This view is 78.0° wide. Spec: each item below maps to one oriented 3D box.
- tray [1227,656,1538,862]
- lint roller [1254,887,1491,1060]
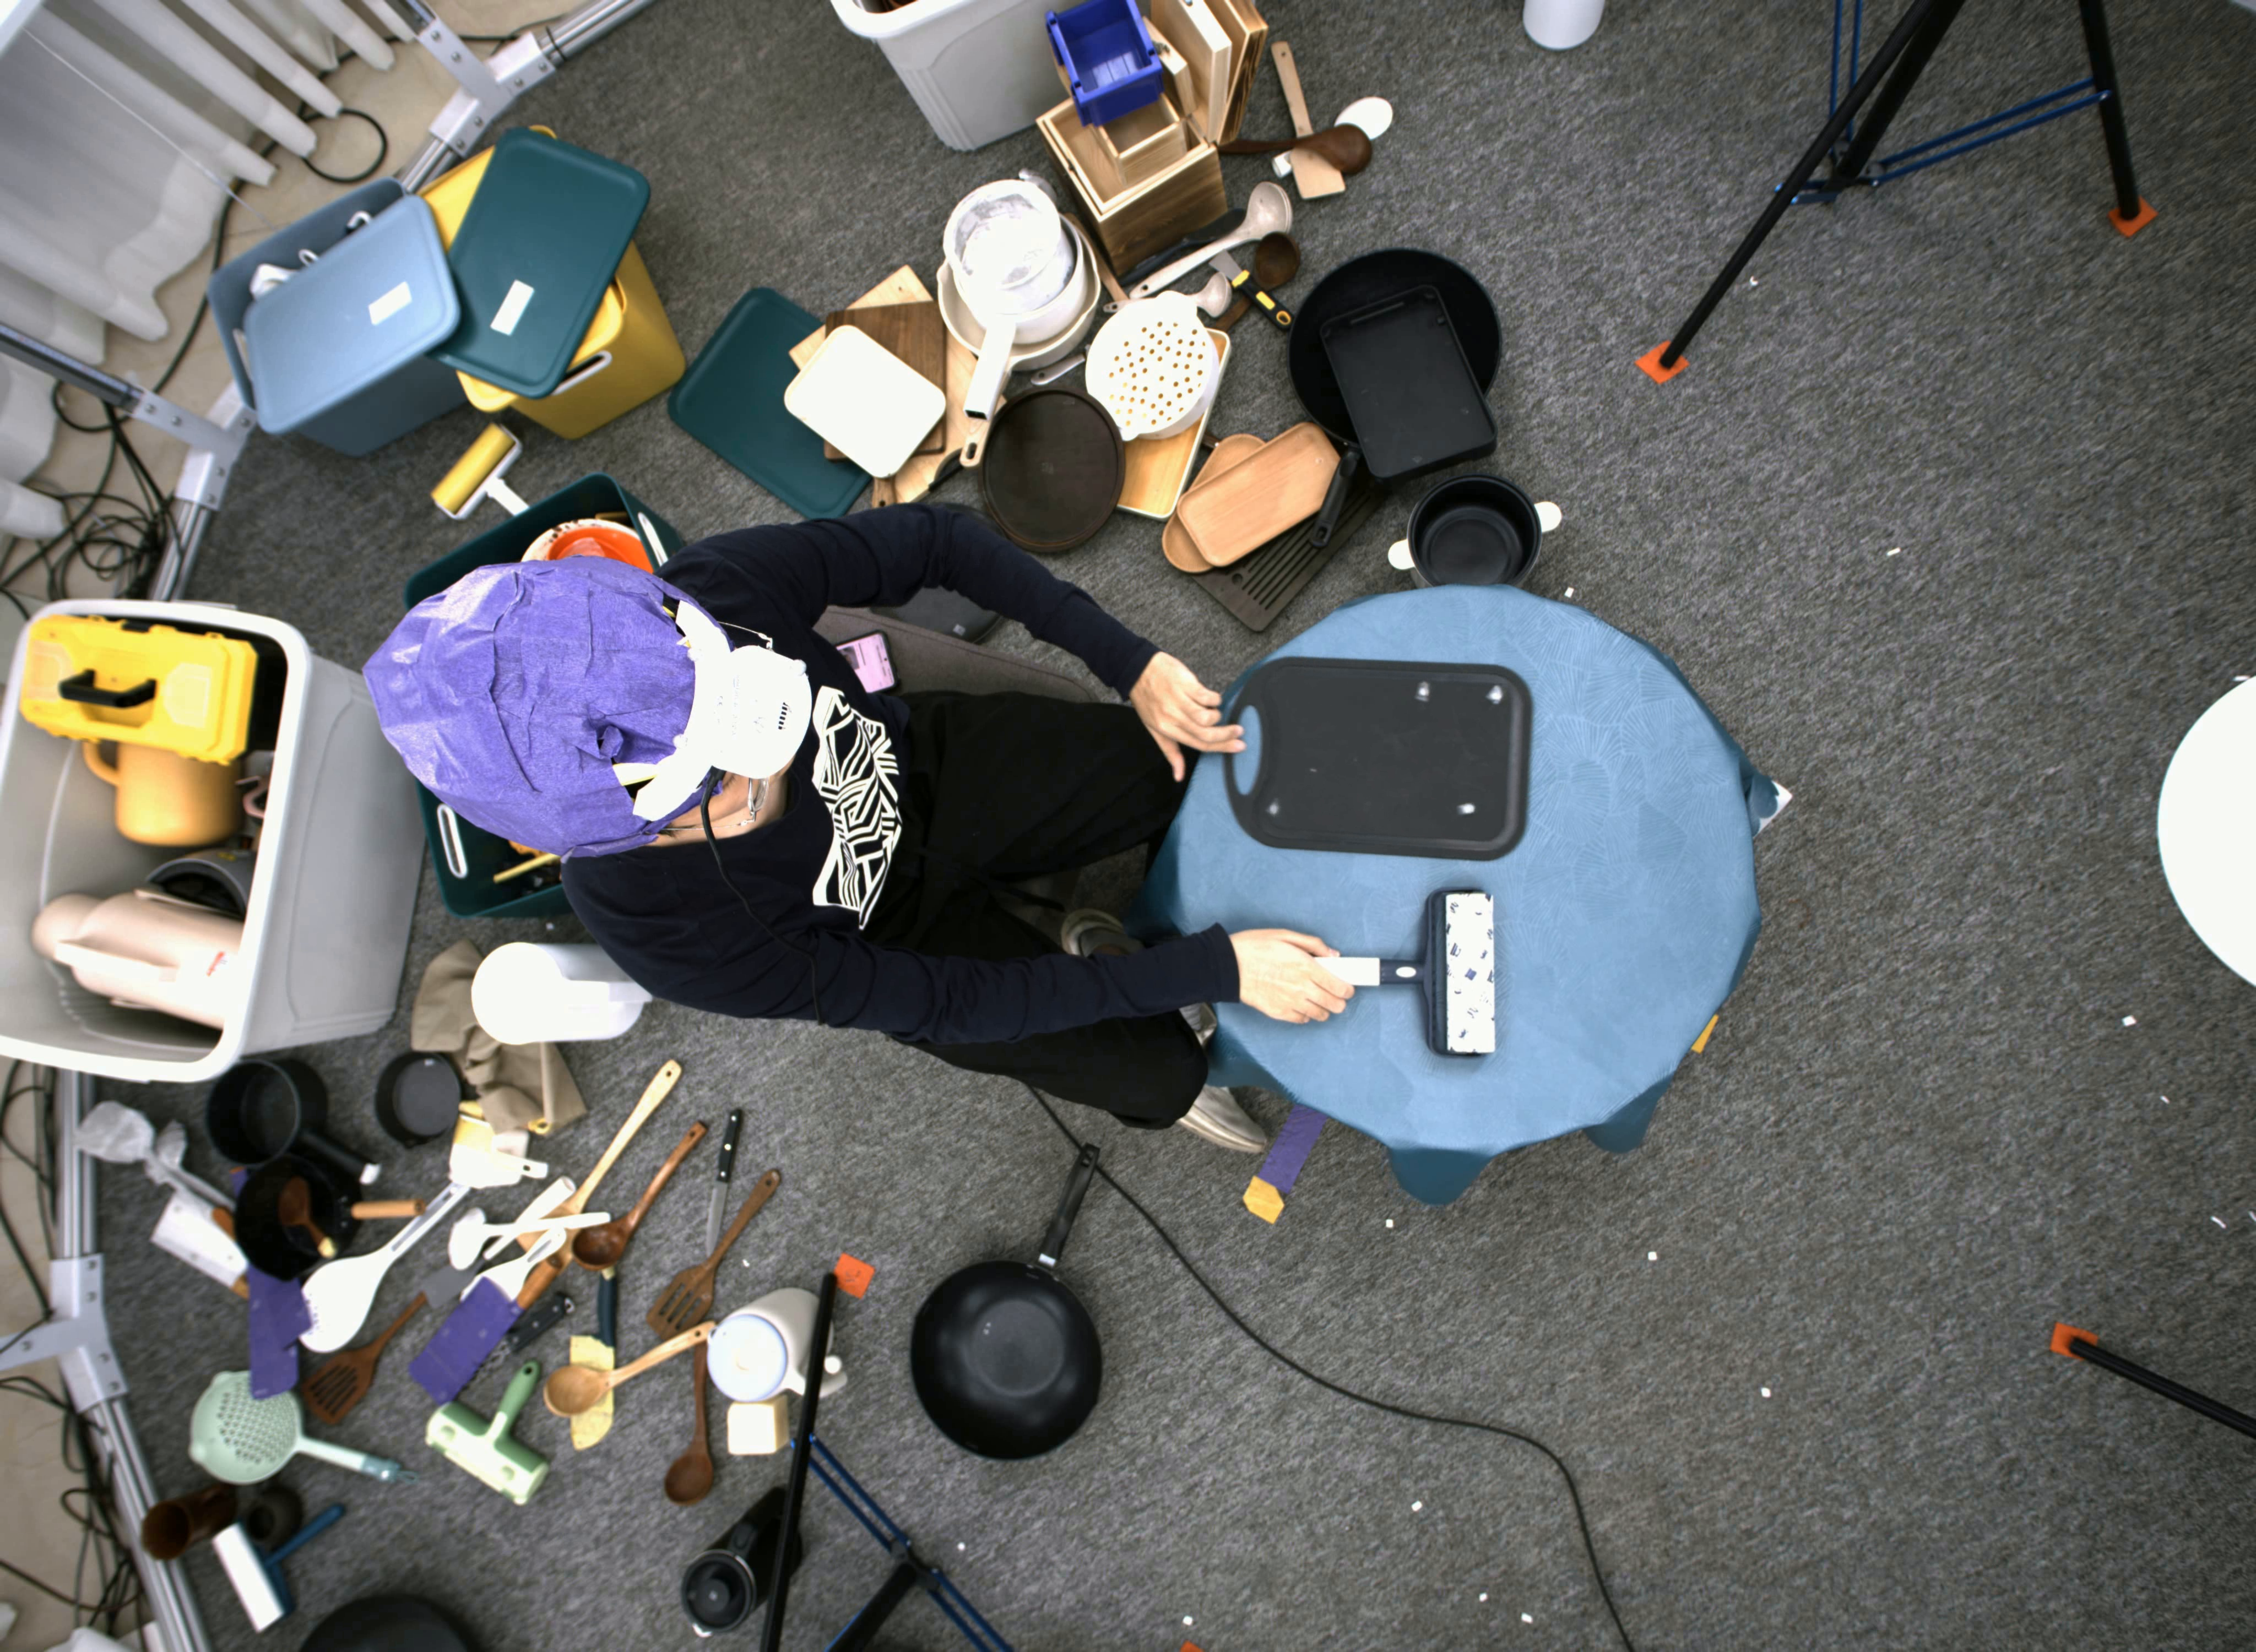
[{"bbox_3d":[0.267,-0.074,1.466,0.326,0.010,0.210,4,87,11],"label":"tray"},{"bbox_3d":[0.253,0.151,1.439,0.248,0.050,0.175,-1,87,14],"label":"lint roller"}]
